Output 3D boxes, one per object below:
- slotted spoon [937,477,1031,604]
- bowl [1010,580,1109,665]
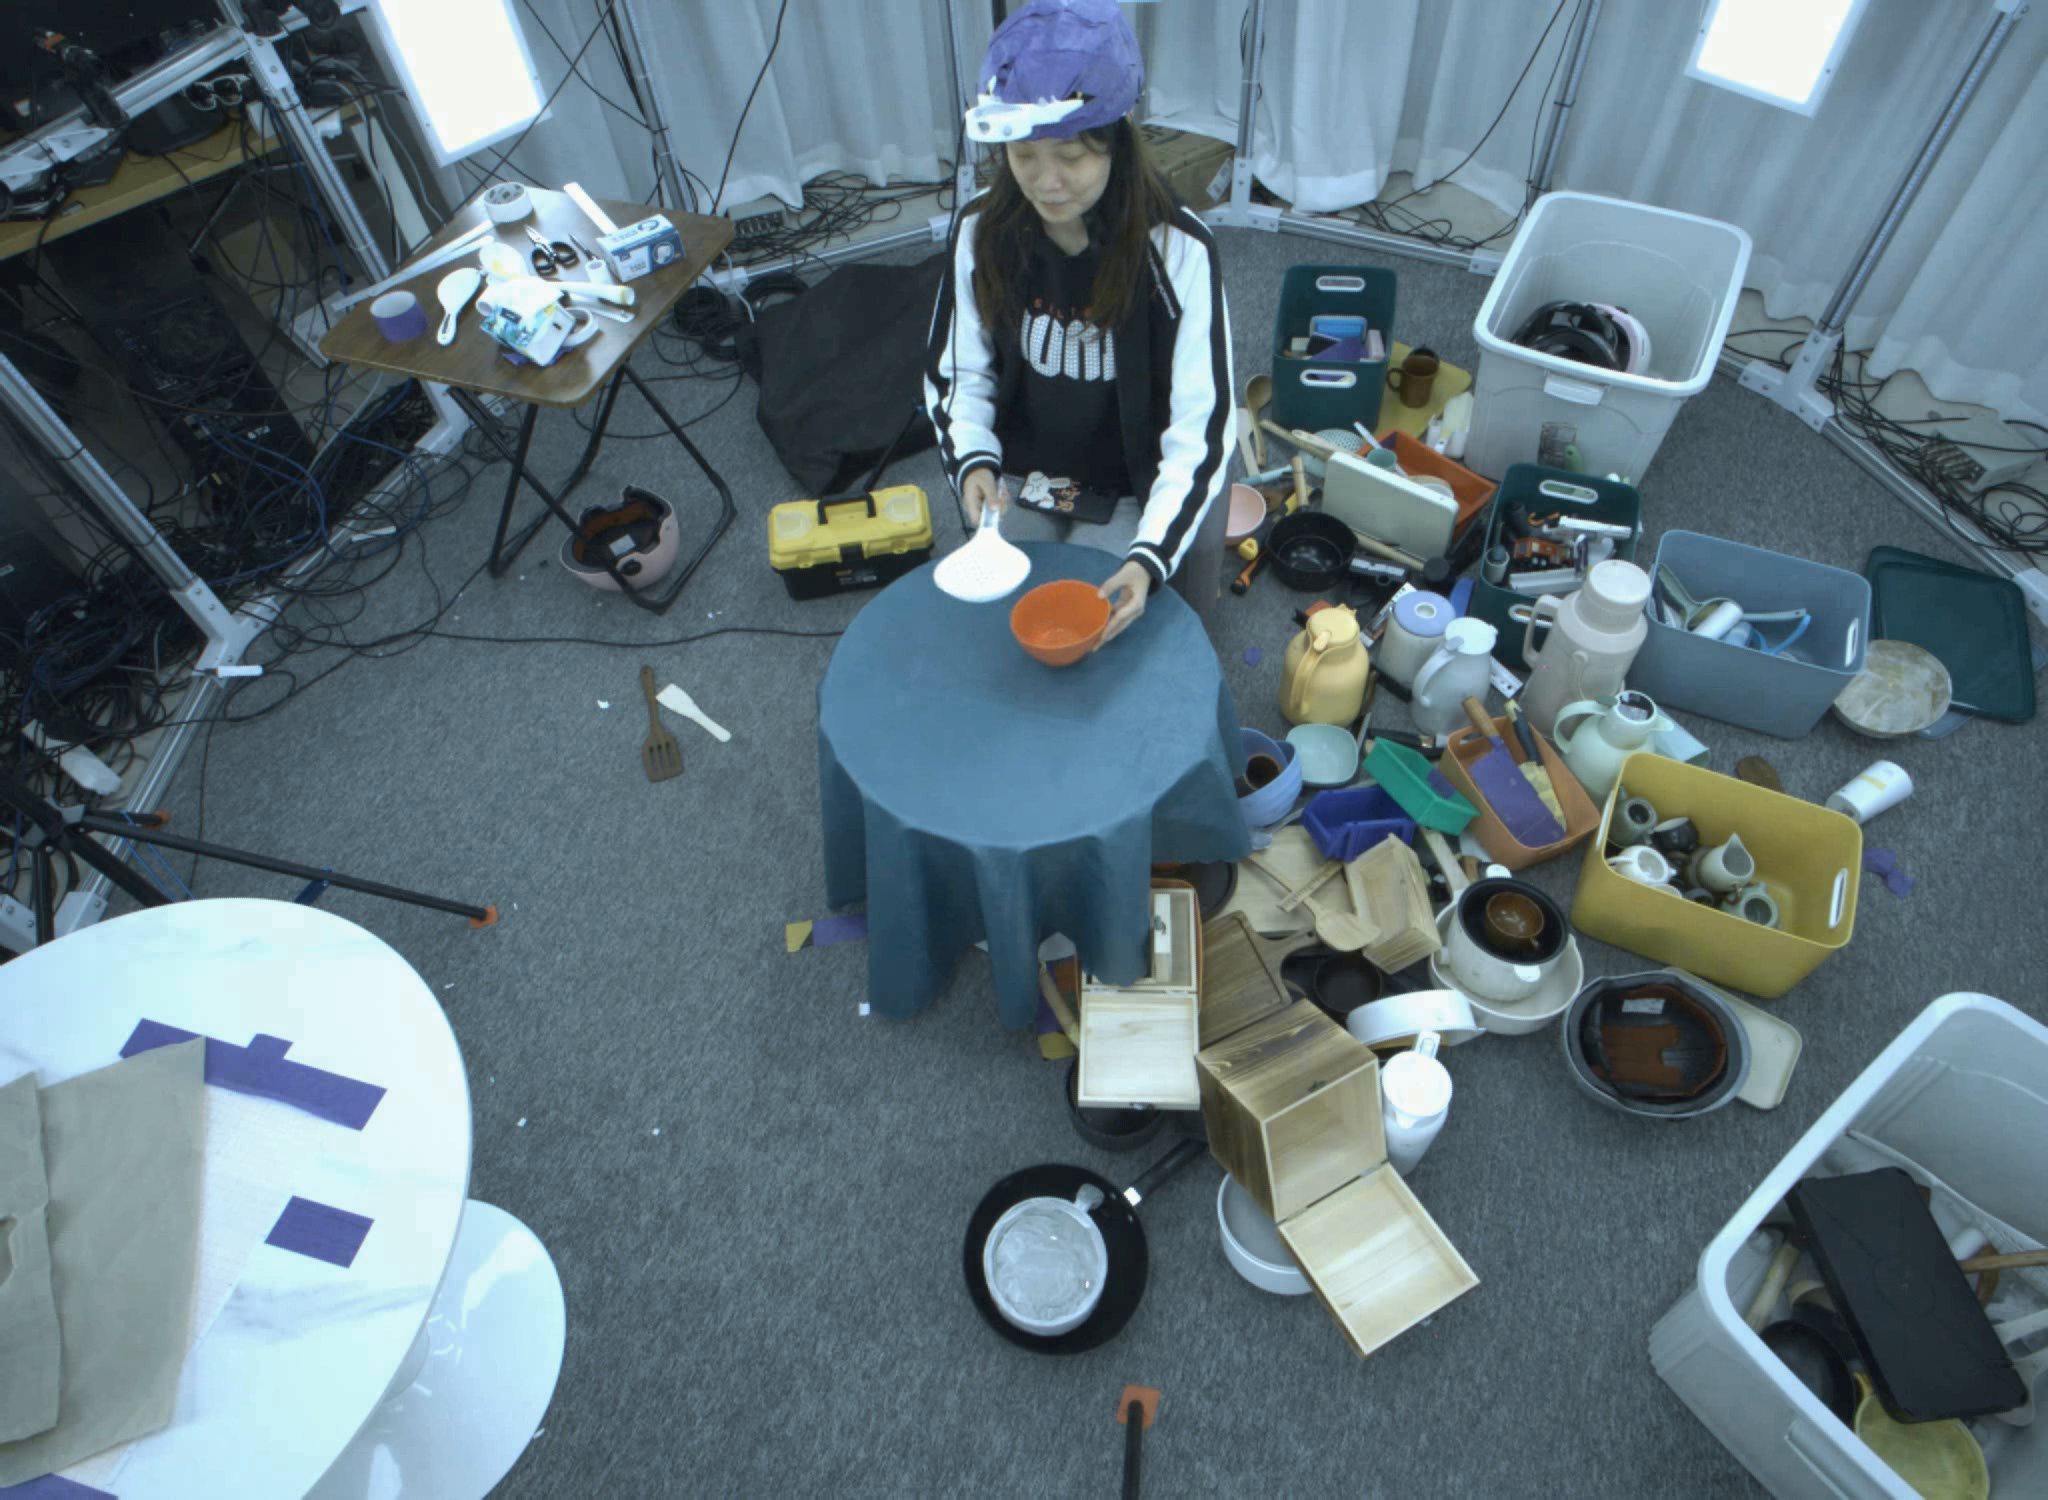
[{"bbox_3d":[-0.052,-0.318,1.821,0.135,0.046,0.346,-3,45,5],"label":"slotted spoon"},{"bbox_3d":[0.055,-0.176,1.831,0.147,0.106,0.146,-2,56,5],"label":"bowl"}]
